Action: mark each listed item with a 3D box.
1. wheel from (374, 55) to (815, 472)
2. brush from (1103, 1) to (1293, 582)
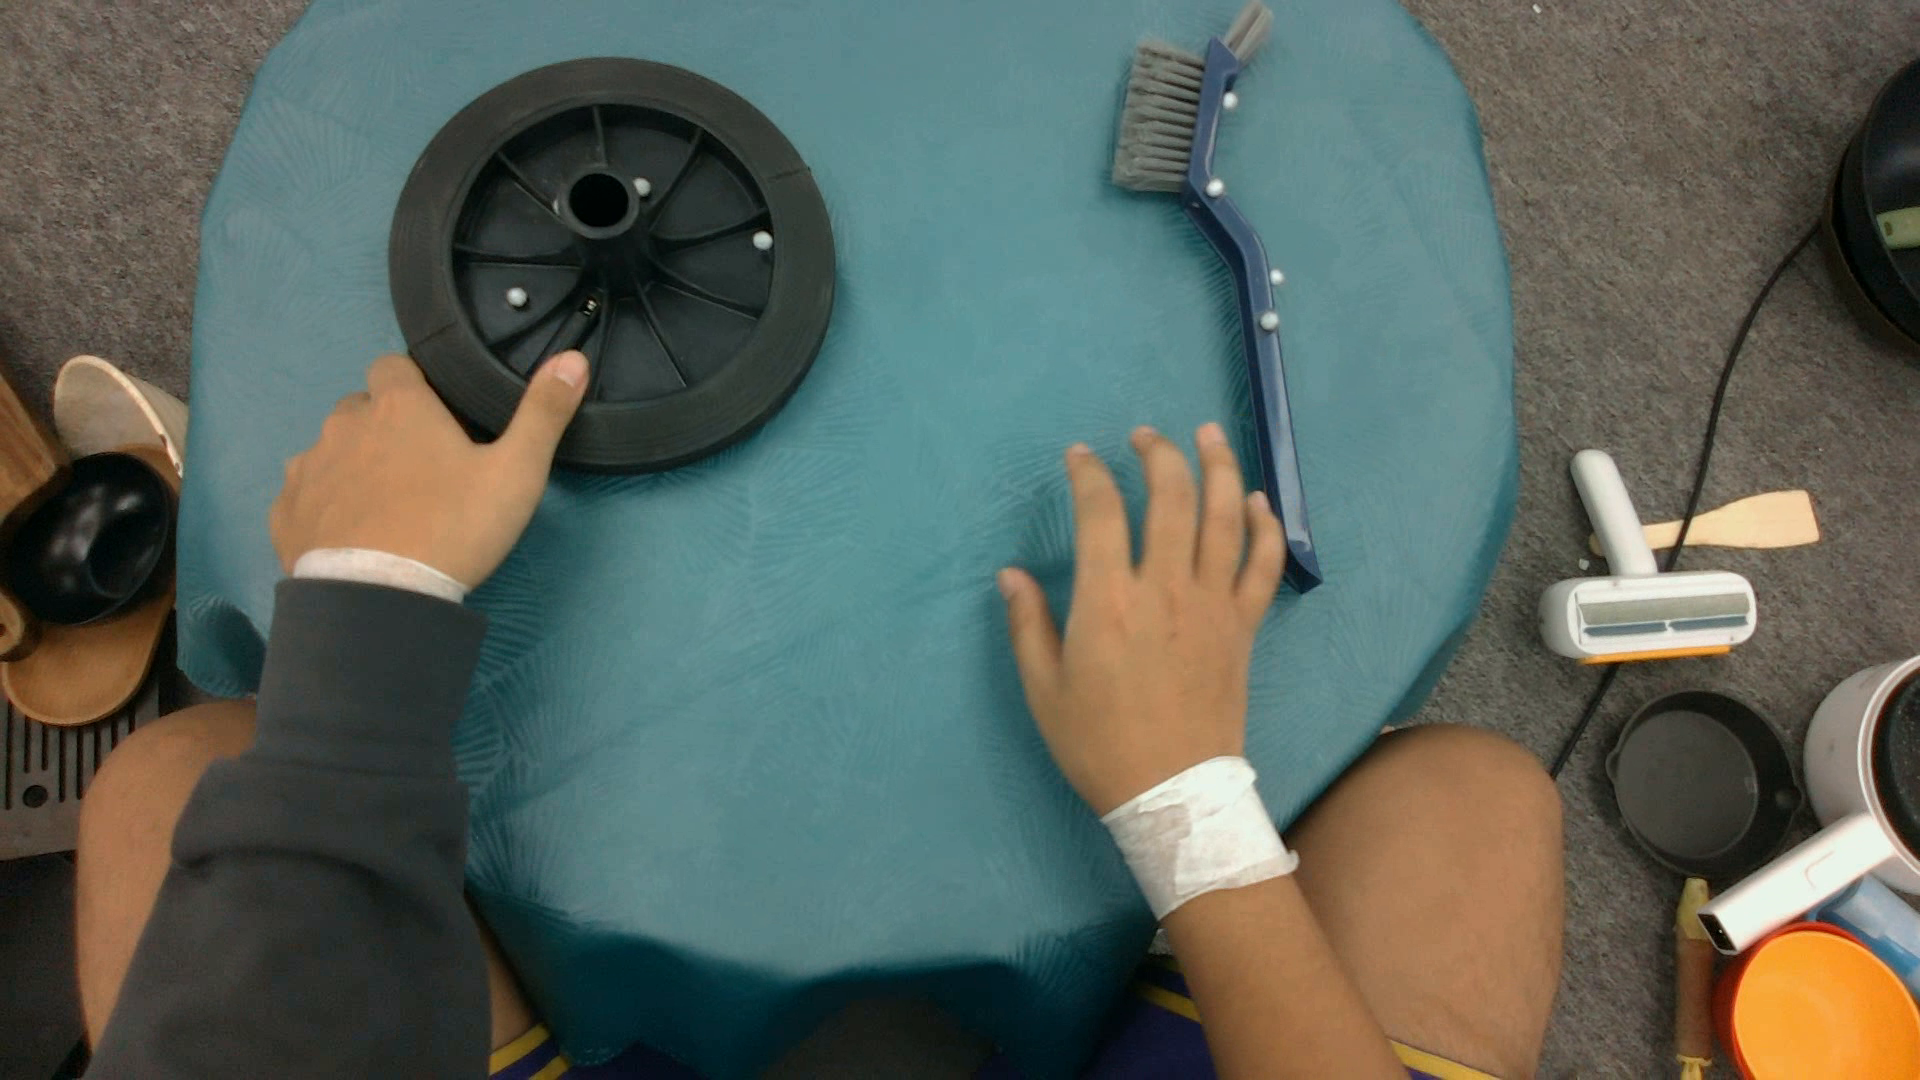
[{"bbox_3d":[-0.155,-0.127,0.584,0.187,0.079,0.190,6,78,-7],"label":"wheel"},{"bbox_3d":[0.132,-0.119,0.629,0.096,0.033,0.273,-14,78,-8],"label":"brush"}]
